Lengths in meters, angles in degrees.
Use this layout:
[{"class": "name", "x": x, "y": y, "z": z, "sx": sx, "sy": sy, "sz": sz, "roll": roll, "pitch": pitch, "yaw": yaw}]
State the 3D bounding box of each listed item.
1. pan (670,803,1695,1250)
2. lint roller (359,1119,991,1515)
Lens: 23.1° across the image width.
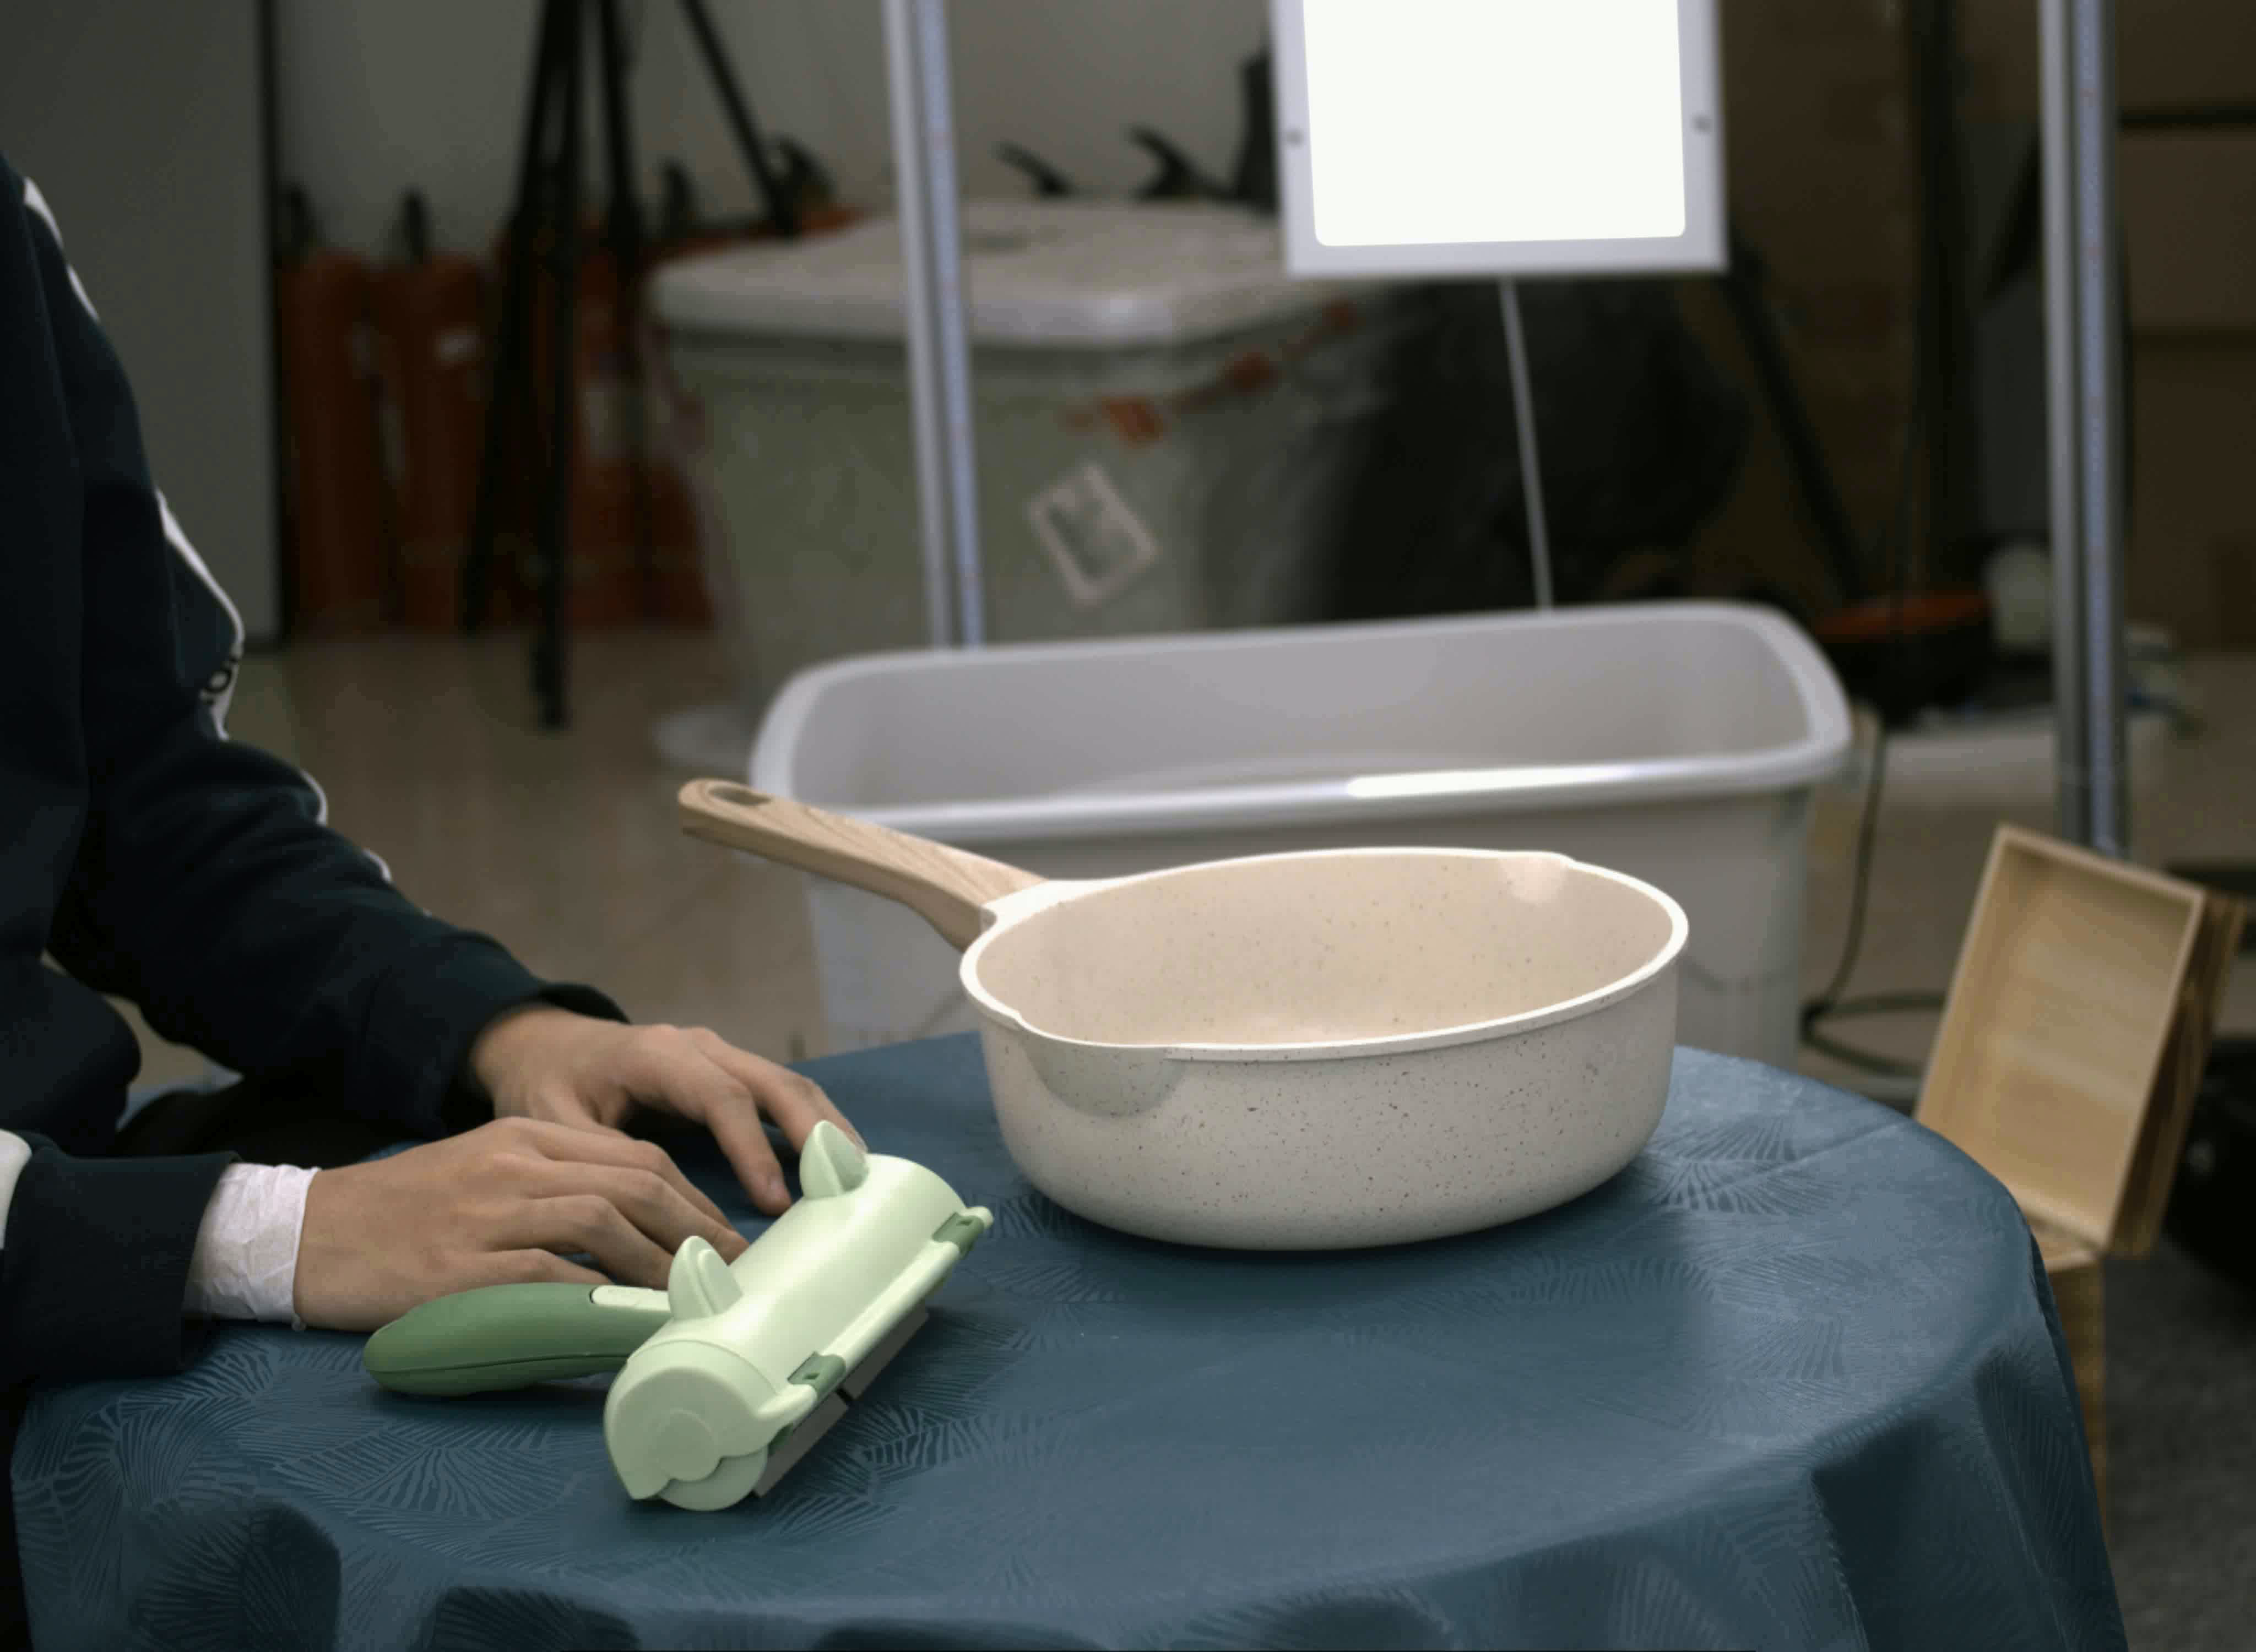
[{"class": "pan", "x": 0.003, "y": 0.061, "z": 1.956, "sx": 0.444, "sy": 0.102, "sz": 0.257, "roll": 7, "pitch": 20, "yaw": 42}, {"class": "lint roller", "x": -0.157, "y": 0.144, "z": 1.724, "sx": 0.185, "sy": 0.082, "sz": 0.195, "roll": 5, "pitch": 16, "yaw": 17}]
